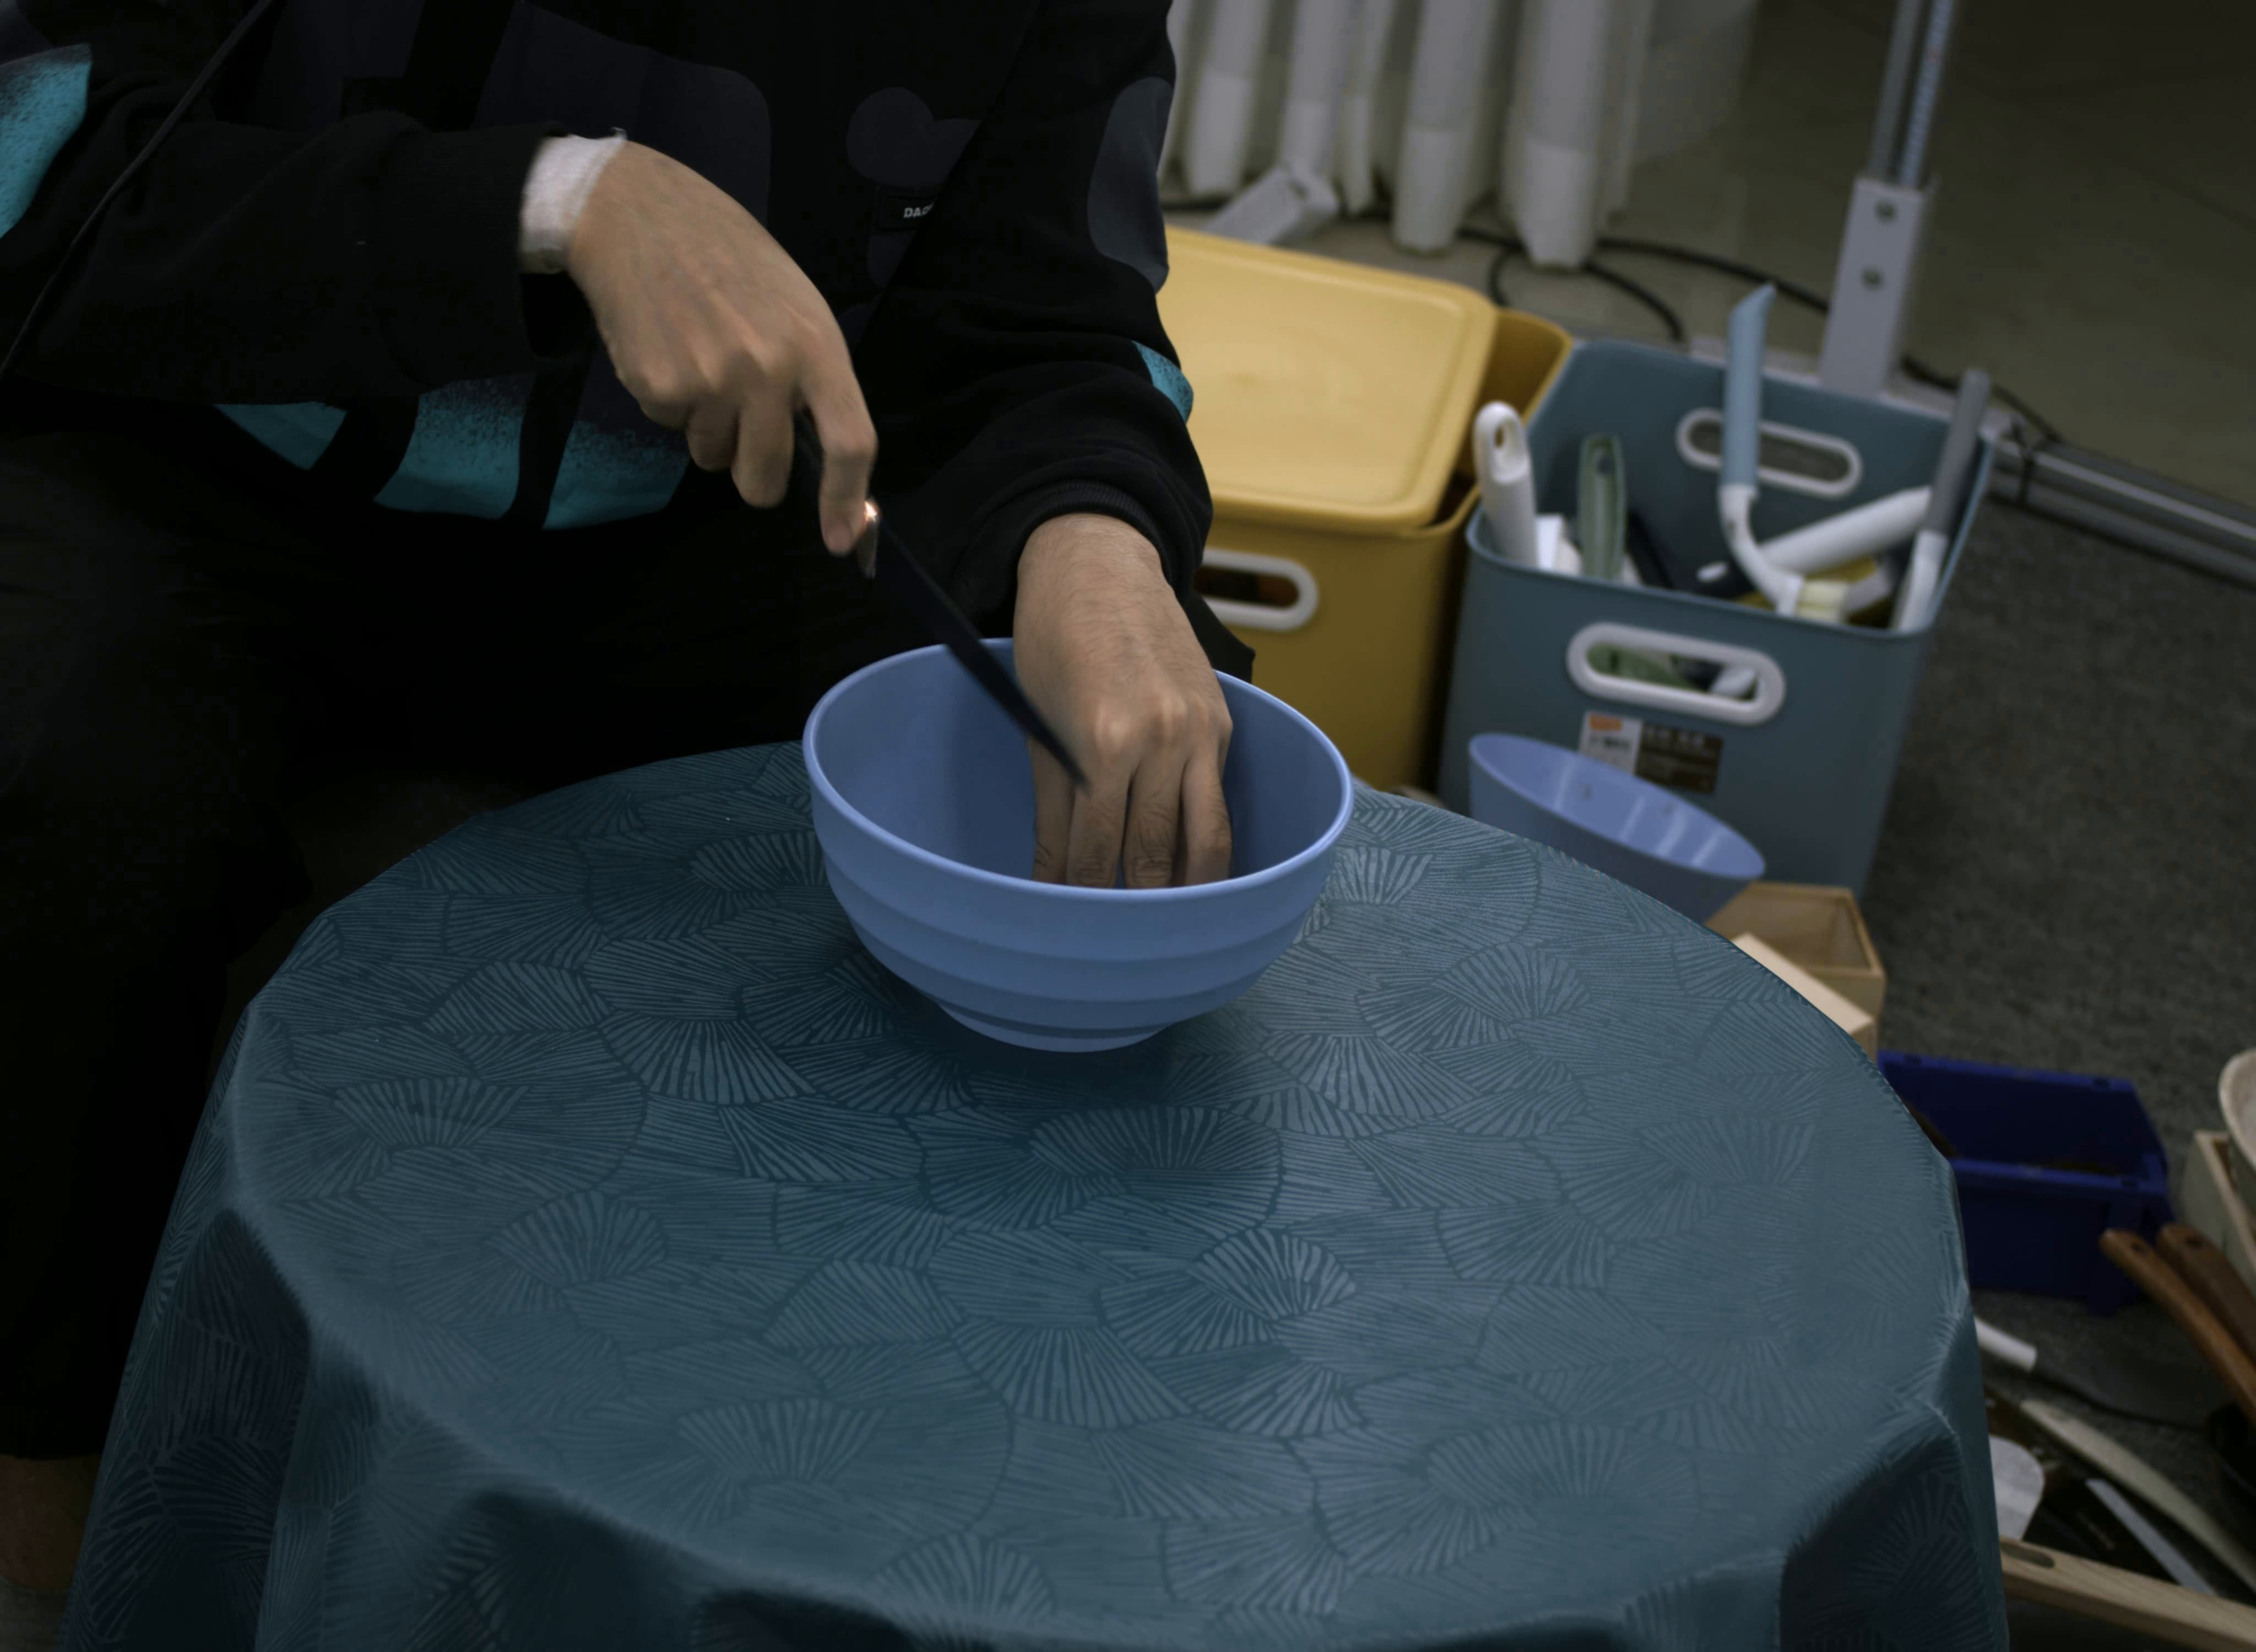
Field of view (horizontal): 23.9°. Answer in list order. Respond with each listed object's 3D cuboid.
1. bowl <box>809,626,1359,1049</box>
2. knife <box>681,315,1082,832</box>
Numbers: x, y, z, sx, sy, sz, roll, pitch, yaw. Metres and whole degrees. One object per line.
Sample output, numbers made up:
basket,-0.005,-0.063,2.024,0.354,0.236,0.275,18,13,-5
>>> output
bowl,-0.022,0.016,1.899,0.196,0.095,0.198,7,29,-4
knife,-0.084,-0.089,1.868,0.017,0.026,0.226,-34,83,-40
